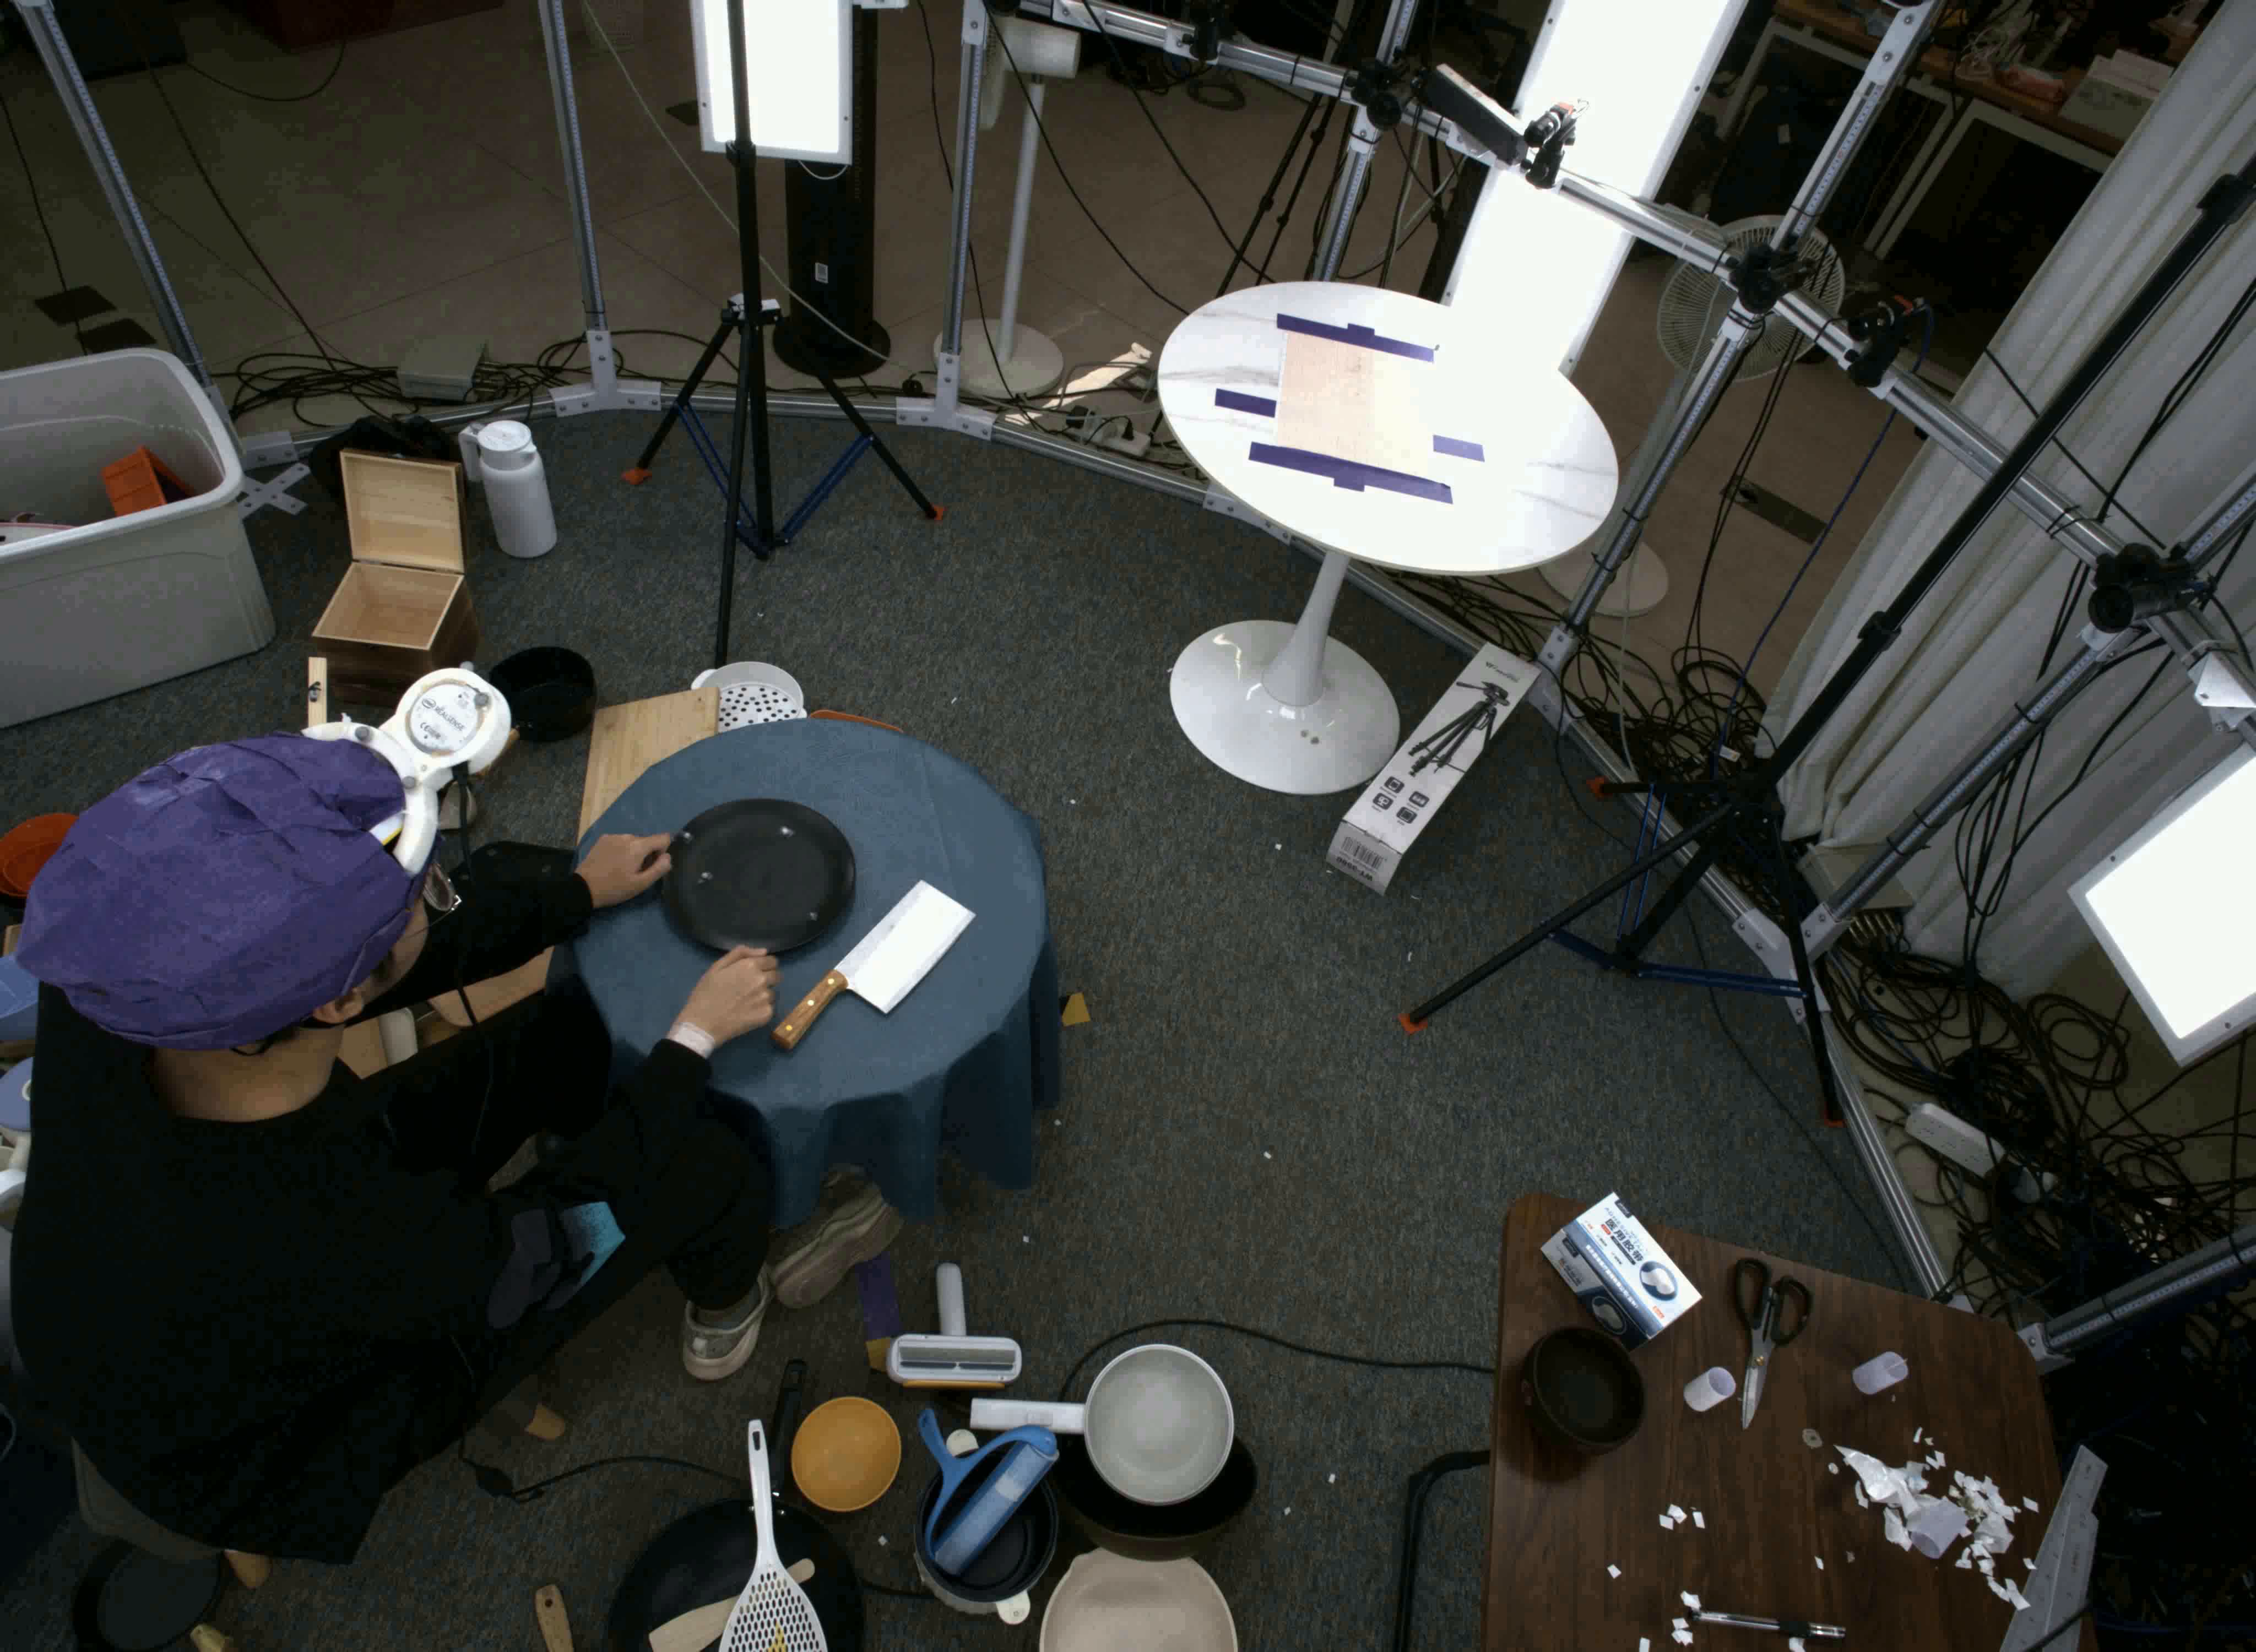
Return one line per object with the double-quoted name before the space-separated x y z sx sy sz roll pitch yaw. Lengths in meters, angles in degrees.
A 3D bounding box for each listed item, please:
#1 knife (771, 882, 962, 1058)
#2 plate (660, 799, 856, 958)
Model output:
"knife" -0.310 0.181 1.599 0.091 0.021 0.305 33 50 8
"plate" -0.467 0.066 1.638 0.244 0.024 0.240 8 52 -9
